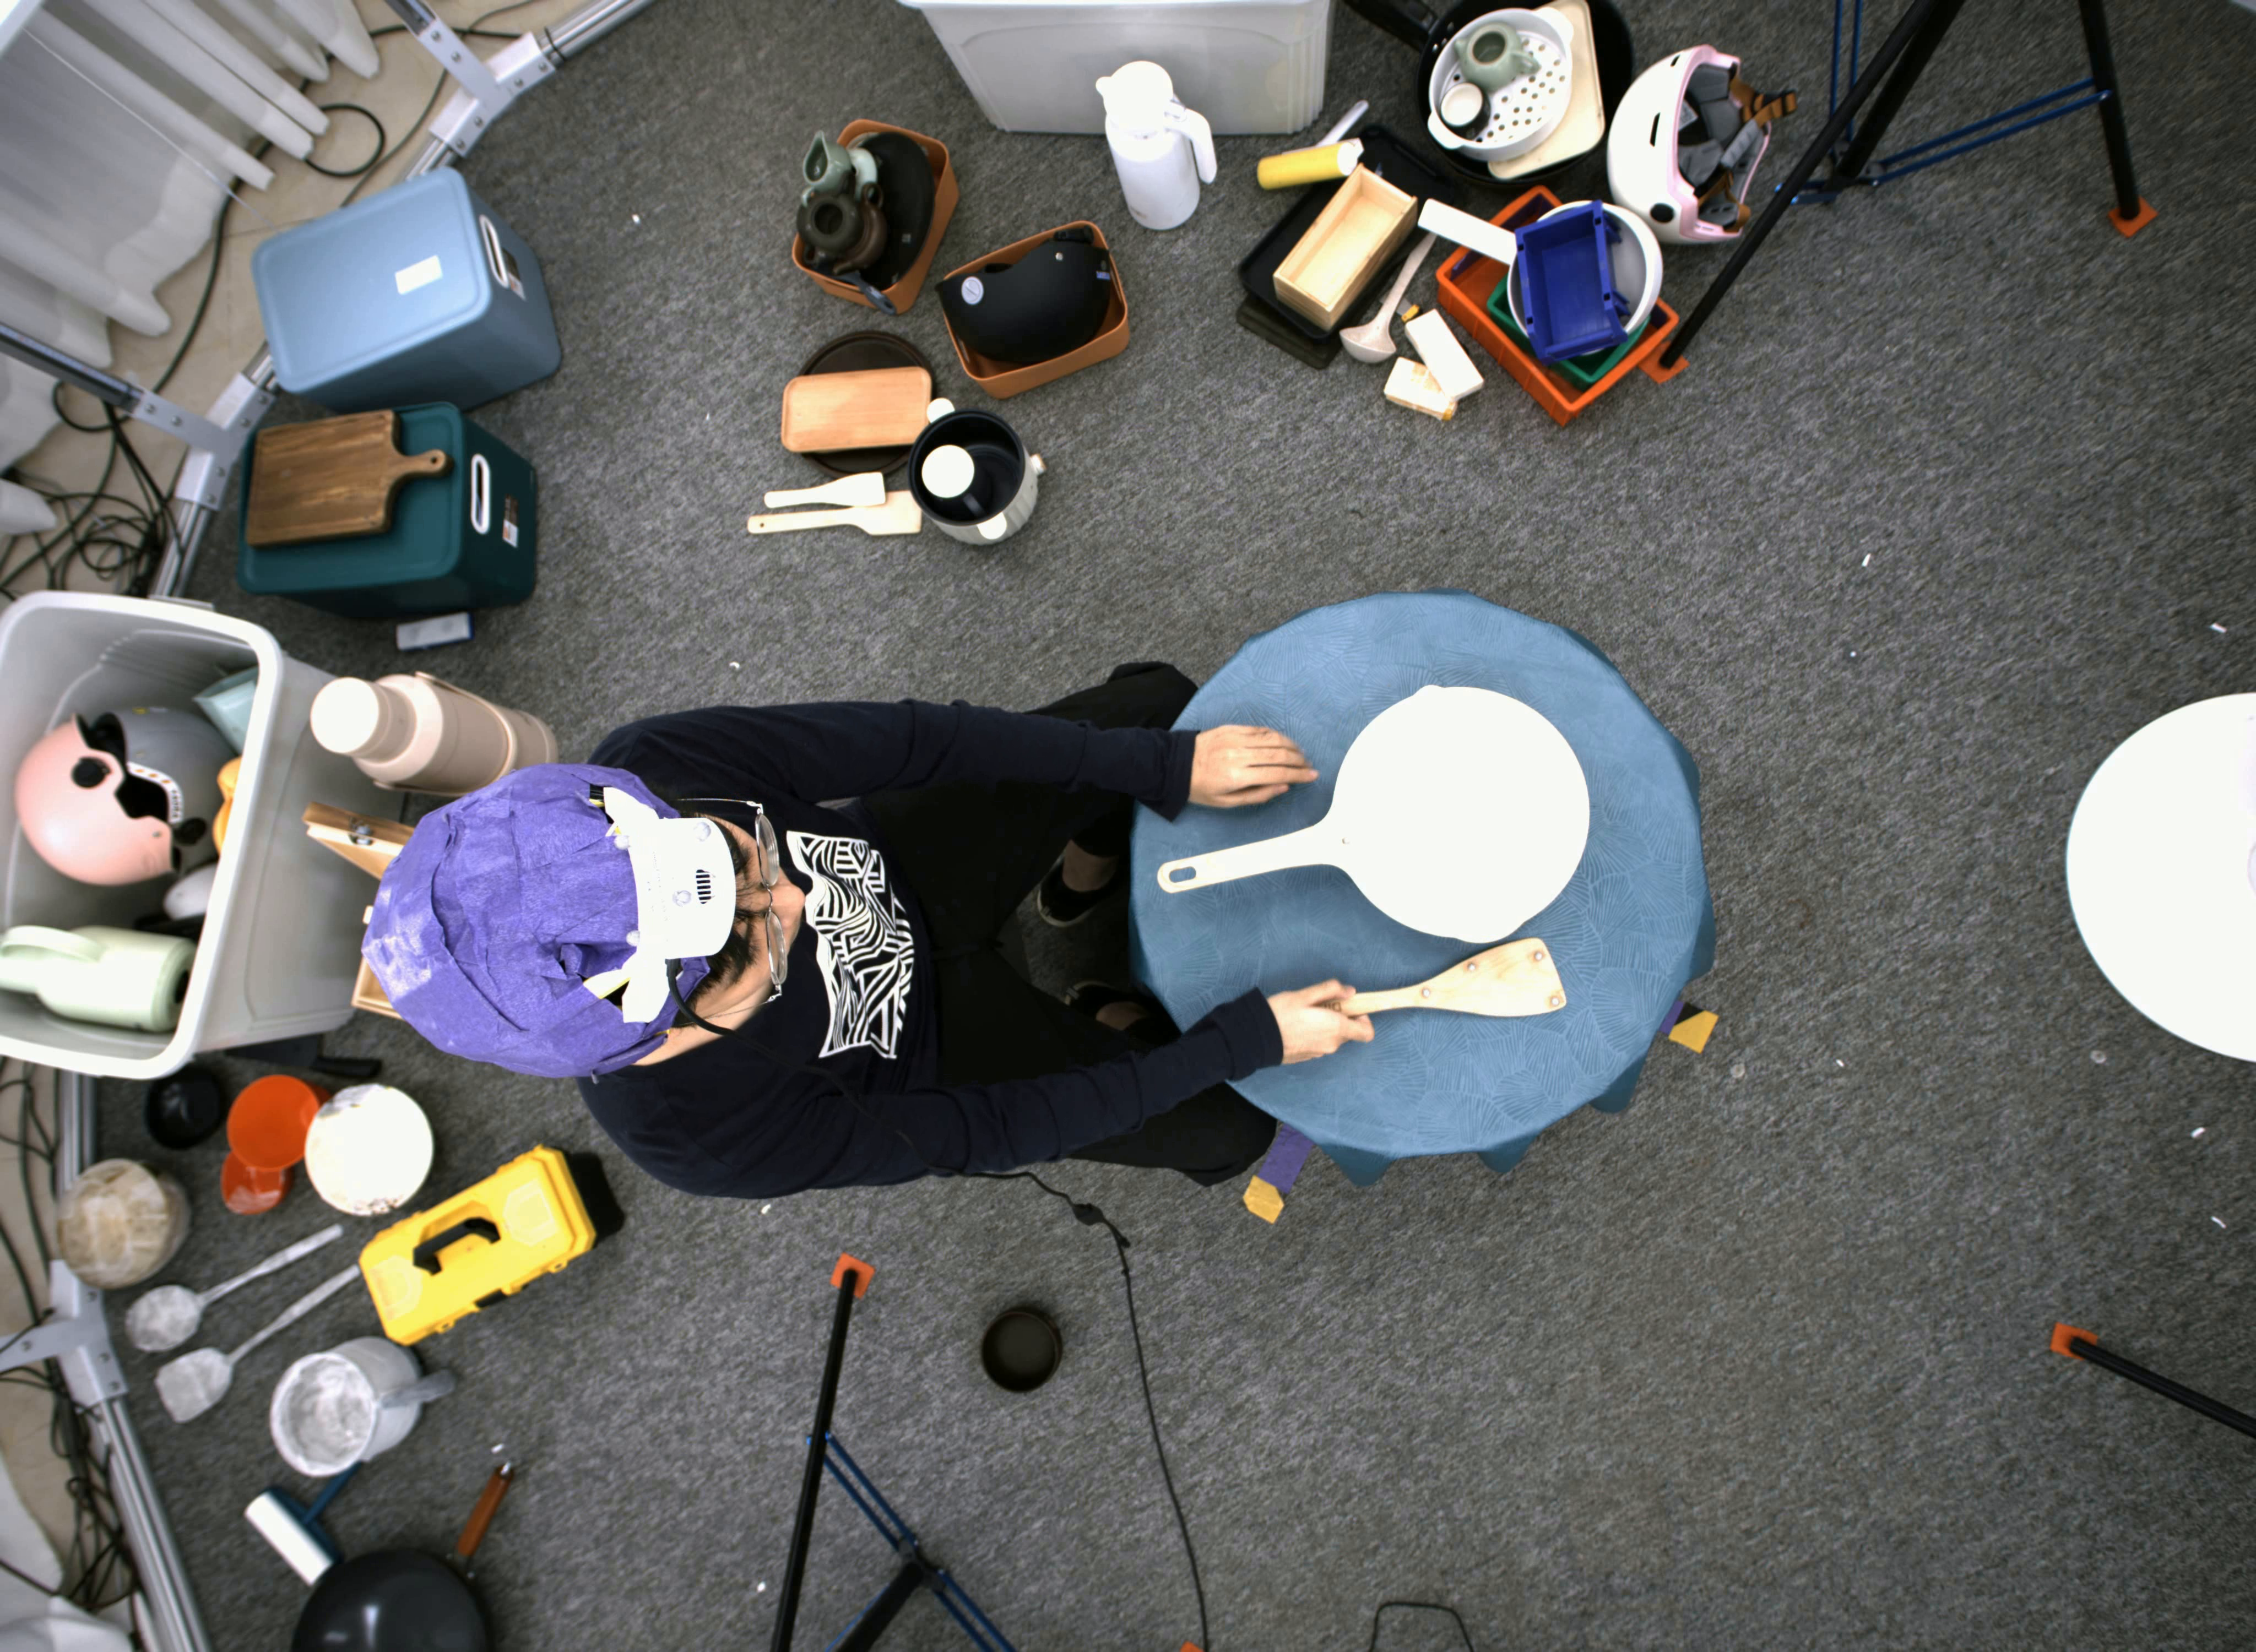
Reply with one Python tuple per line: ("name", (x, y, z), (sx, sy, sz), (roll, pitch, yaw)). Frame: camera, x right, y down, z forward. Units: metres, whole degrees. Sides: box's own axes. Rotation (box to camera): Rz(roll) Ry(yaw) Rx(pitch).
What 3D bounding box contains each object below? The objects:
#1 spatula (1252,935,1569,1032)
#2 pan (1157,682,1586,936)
("spatula", (0.288, 0.171, 1.420), (0.327, 0.016, 0.079), (-9, 84, -3))
("pan", (0.245, 0.005, 1.419), (0.437, 0.102, 0.262), (-15, 84, 10))
